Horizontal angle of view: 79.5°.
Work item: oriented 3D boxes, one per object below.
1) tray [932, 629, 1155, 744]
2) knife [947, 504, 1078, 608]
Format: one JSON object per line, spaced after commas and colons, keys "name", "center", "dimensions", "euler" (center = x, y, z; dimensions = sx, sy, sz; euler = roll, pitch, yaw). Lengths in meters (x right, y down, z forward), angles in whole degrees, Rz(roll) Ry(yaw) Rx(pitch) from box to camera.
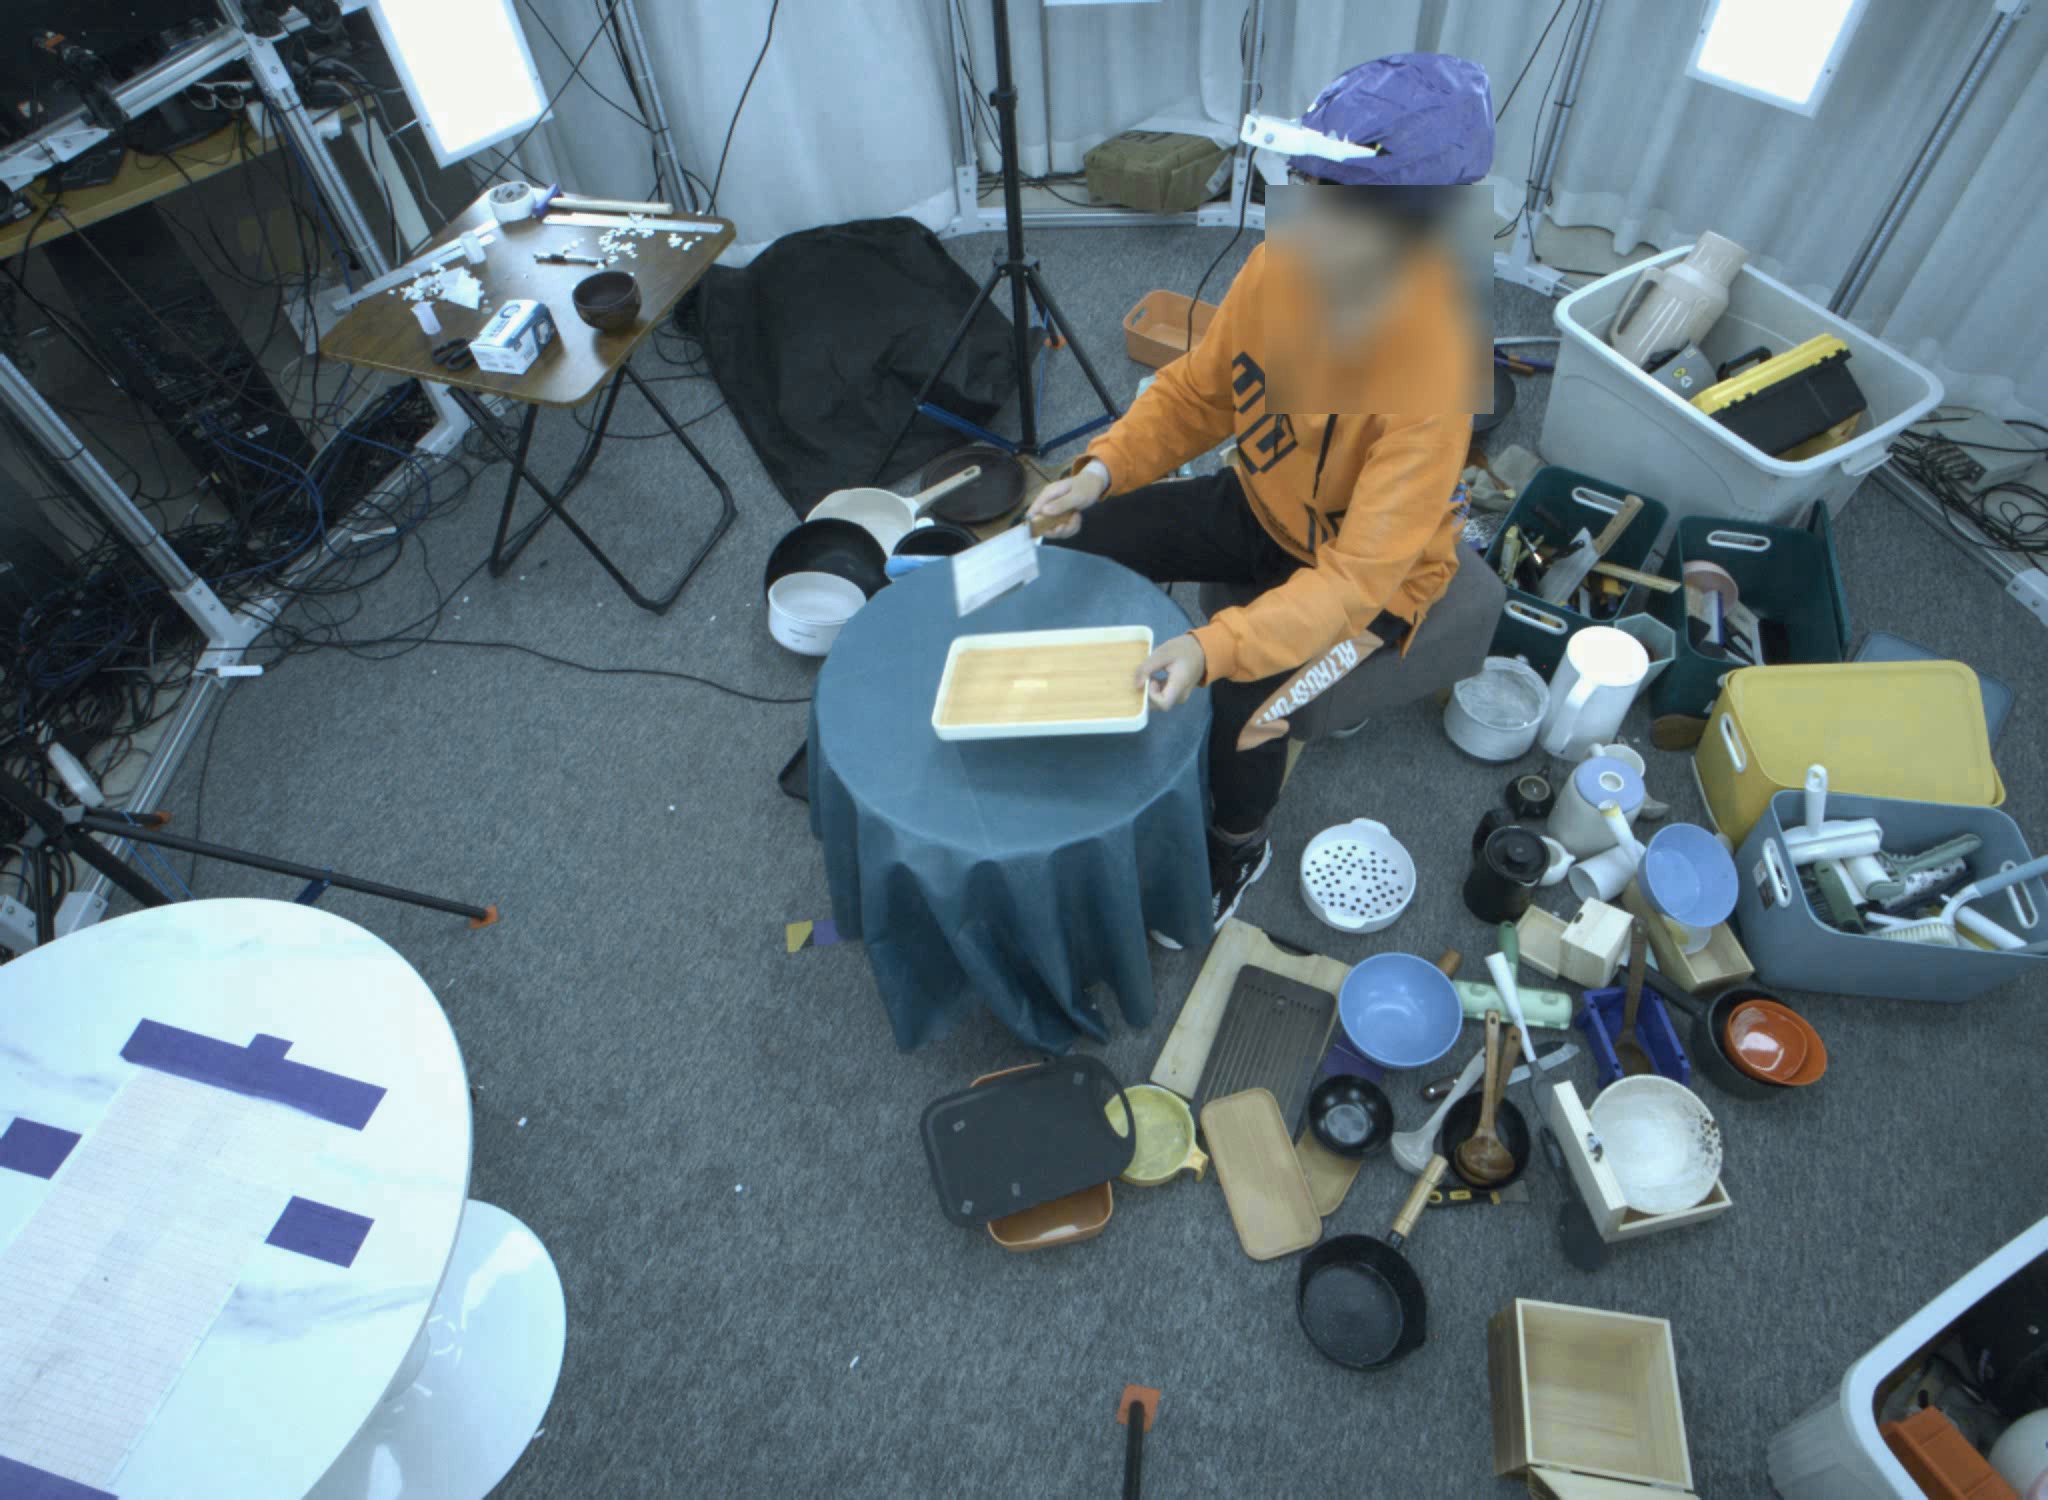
{"name": "tray", "center": [0.029, -0.090, 1.729], "dimensions": [0.298, 0.028, 0.190], "euler": [-3, 45, 13]}
{"name": "knife", "center": [-0.013, -0.284, 1.800], "dimensions": [0.020, 0.094, 0.309], "euler": [15, 33, 34]}
